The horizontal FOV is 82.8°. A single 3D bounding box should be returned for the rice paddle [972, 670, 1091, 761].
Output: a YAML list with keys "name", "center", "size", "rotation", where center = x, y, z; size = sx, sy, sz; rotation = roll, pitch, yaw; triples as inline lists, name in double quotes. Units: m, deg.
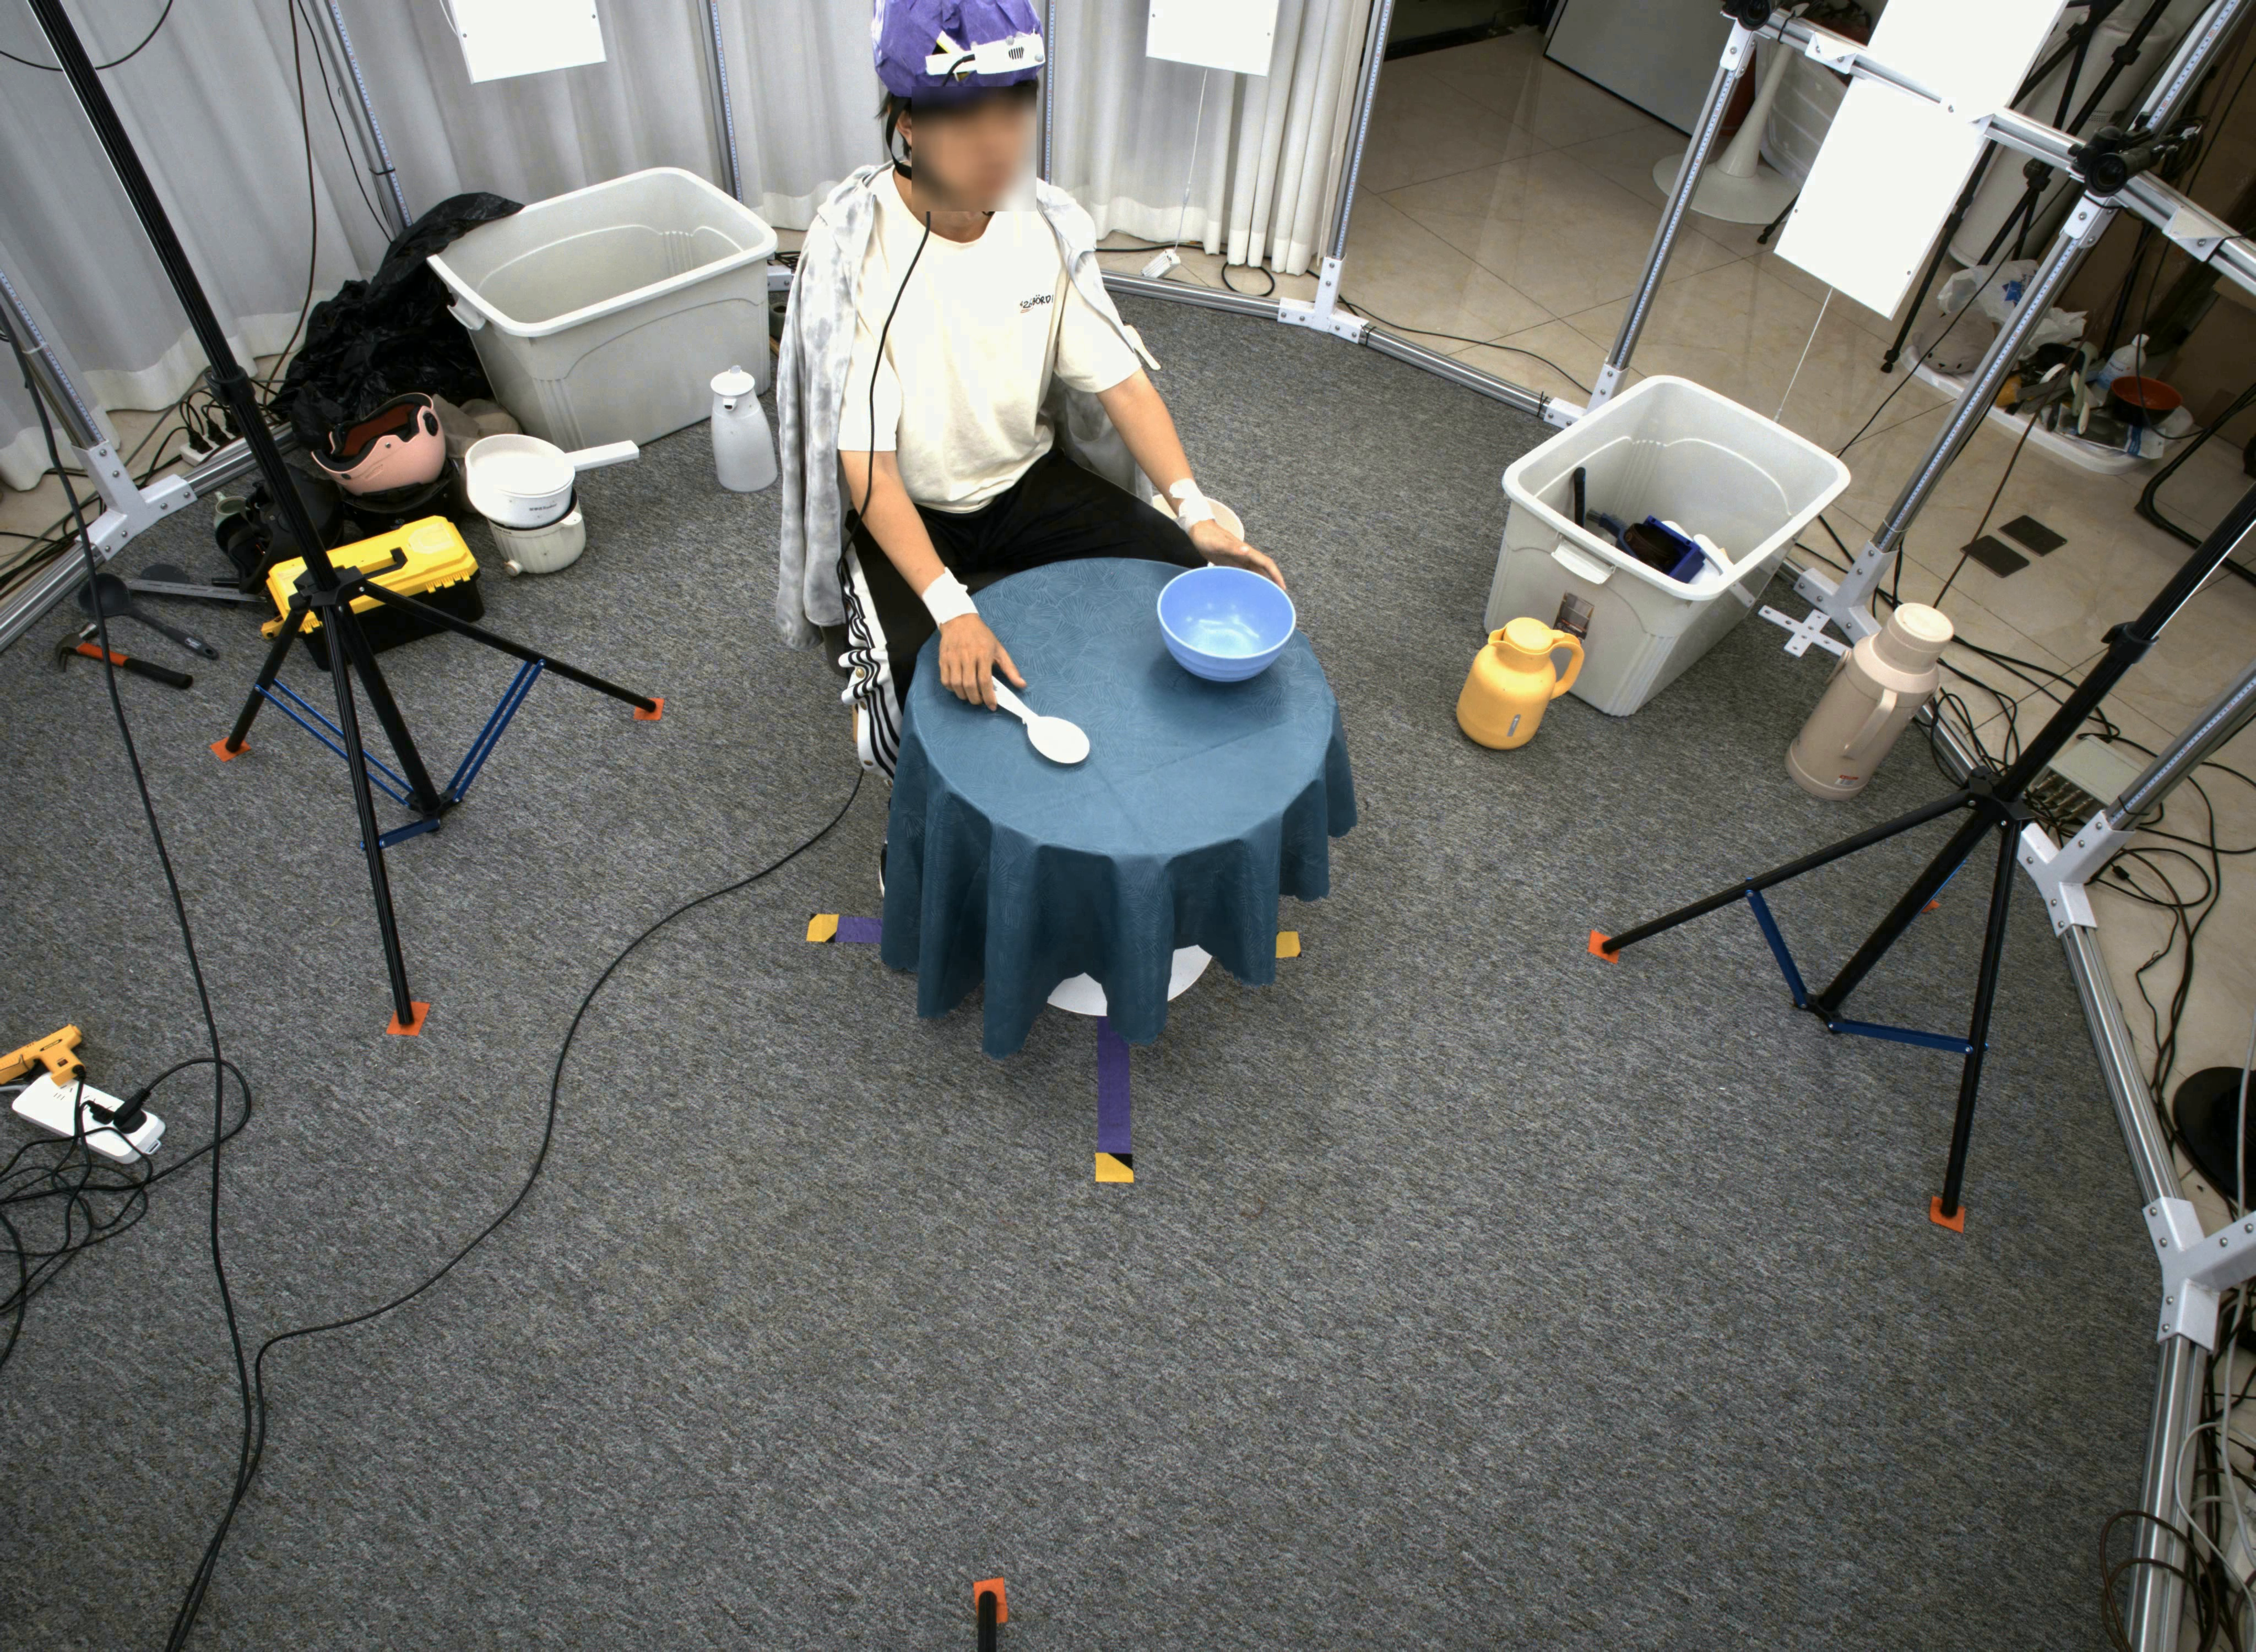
- name: "rice paddle"
  center: [-0.133, -0.151, 1.763]
  size: [0.208, 0.029, 0.069]
  rotation: [37, 58, 25]

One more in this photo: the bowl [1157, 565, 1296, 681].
- name: "bowl"
  center: [0.137, -0.277, 1.848]
  size: [0.196, 0.093, 0.201]
  rotation: [2, 50, -2]
